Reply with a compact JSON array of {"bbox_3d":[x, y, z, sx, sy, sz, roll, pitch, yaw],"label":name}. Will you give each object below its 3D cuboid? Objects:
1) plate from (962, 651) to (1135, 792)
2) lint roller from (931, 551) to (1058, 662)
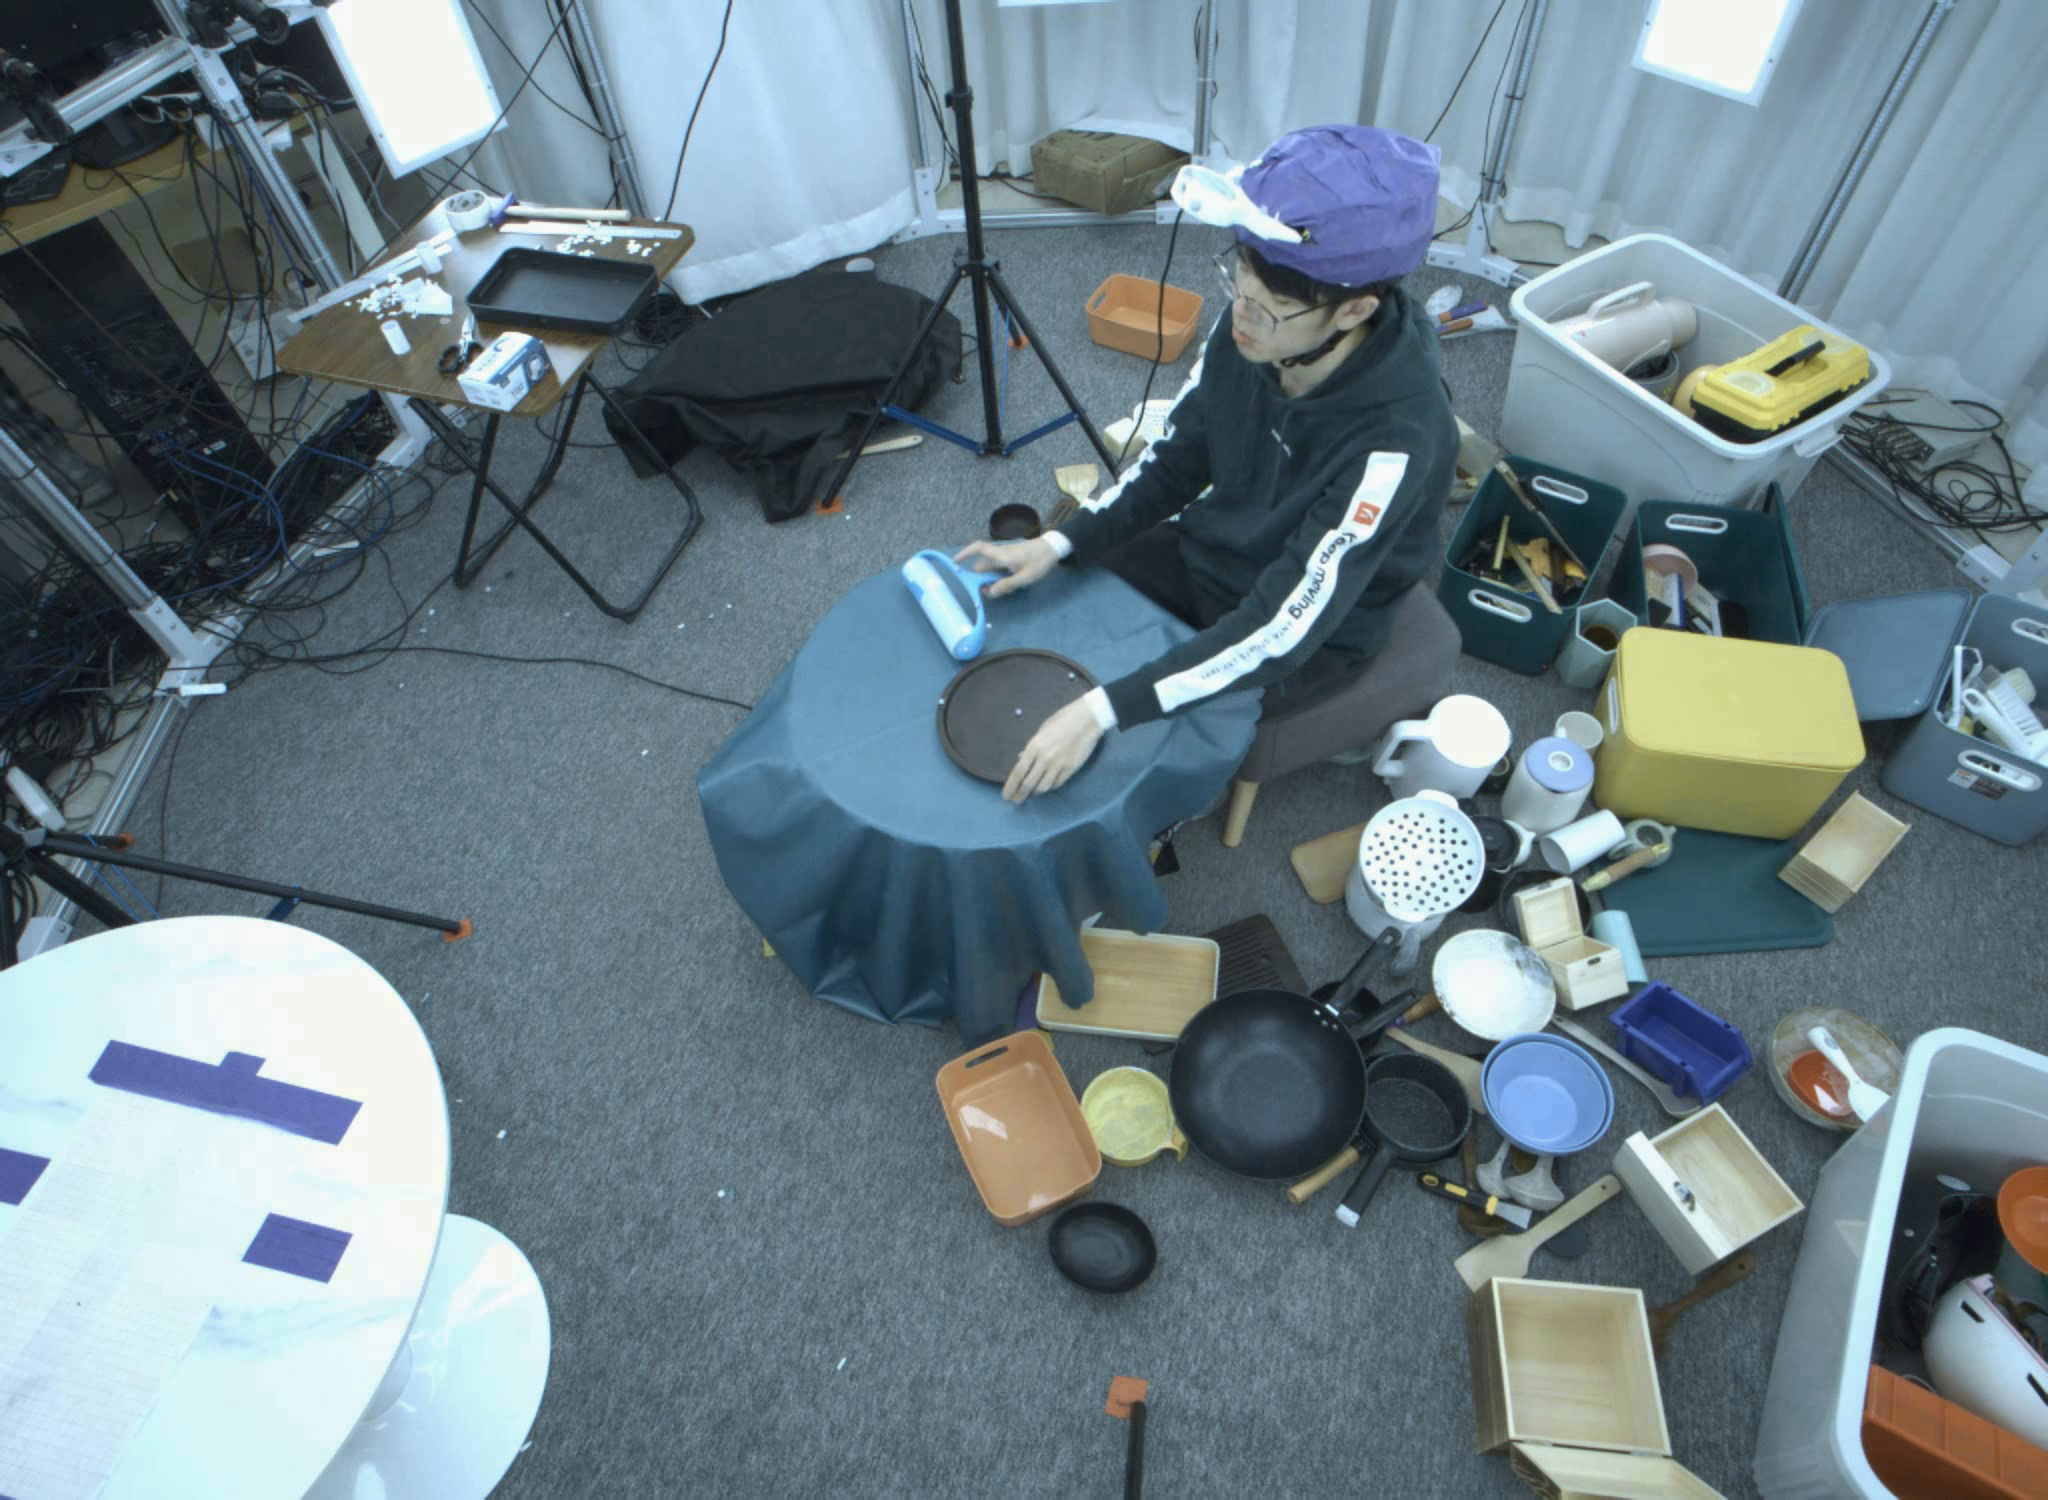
[{"bbox_3d":[0.036,-0.044,1.798,0.254,0.029,0.252,-1,54,3],"label":"plate"},{"bbox_3d":[-0.032,-0.246,1.924,0.181,0.069,0.224,-26,56,-14],"label":"lint roller"}]
